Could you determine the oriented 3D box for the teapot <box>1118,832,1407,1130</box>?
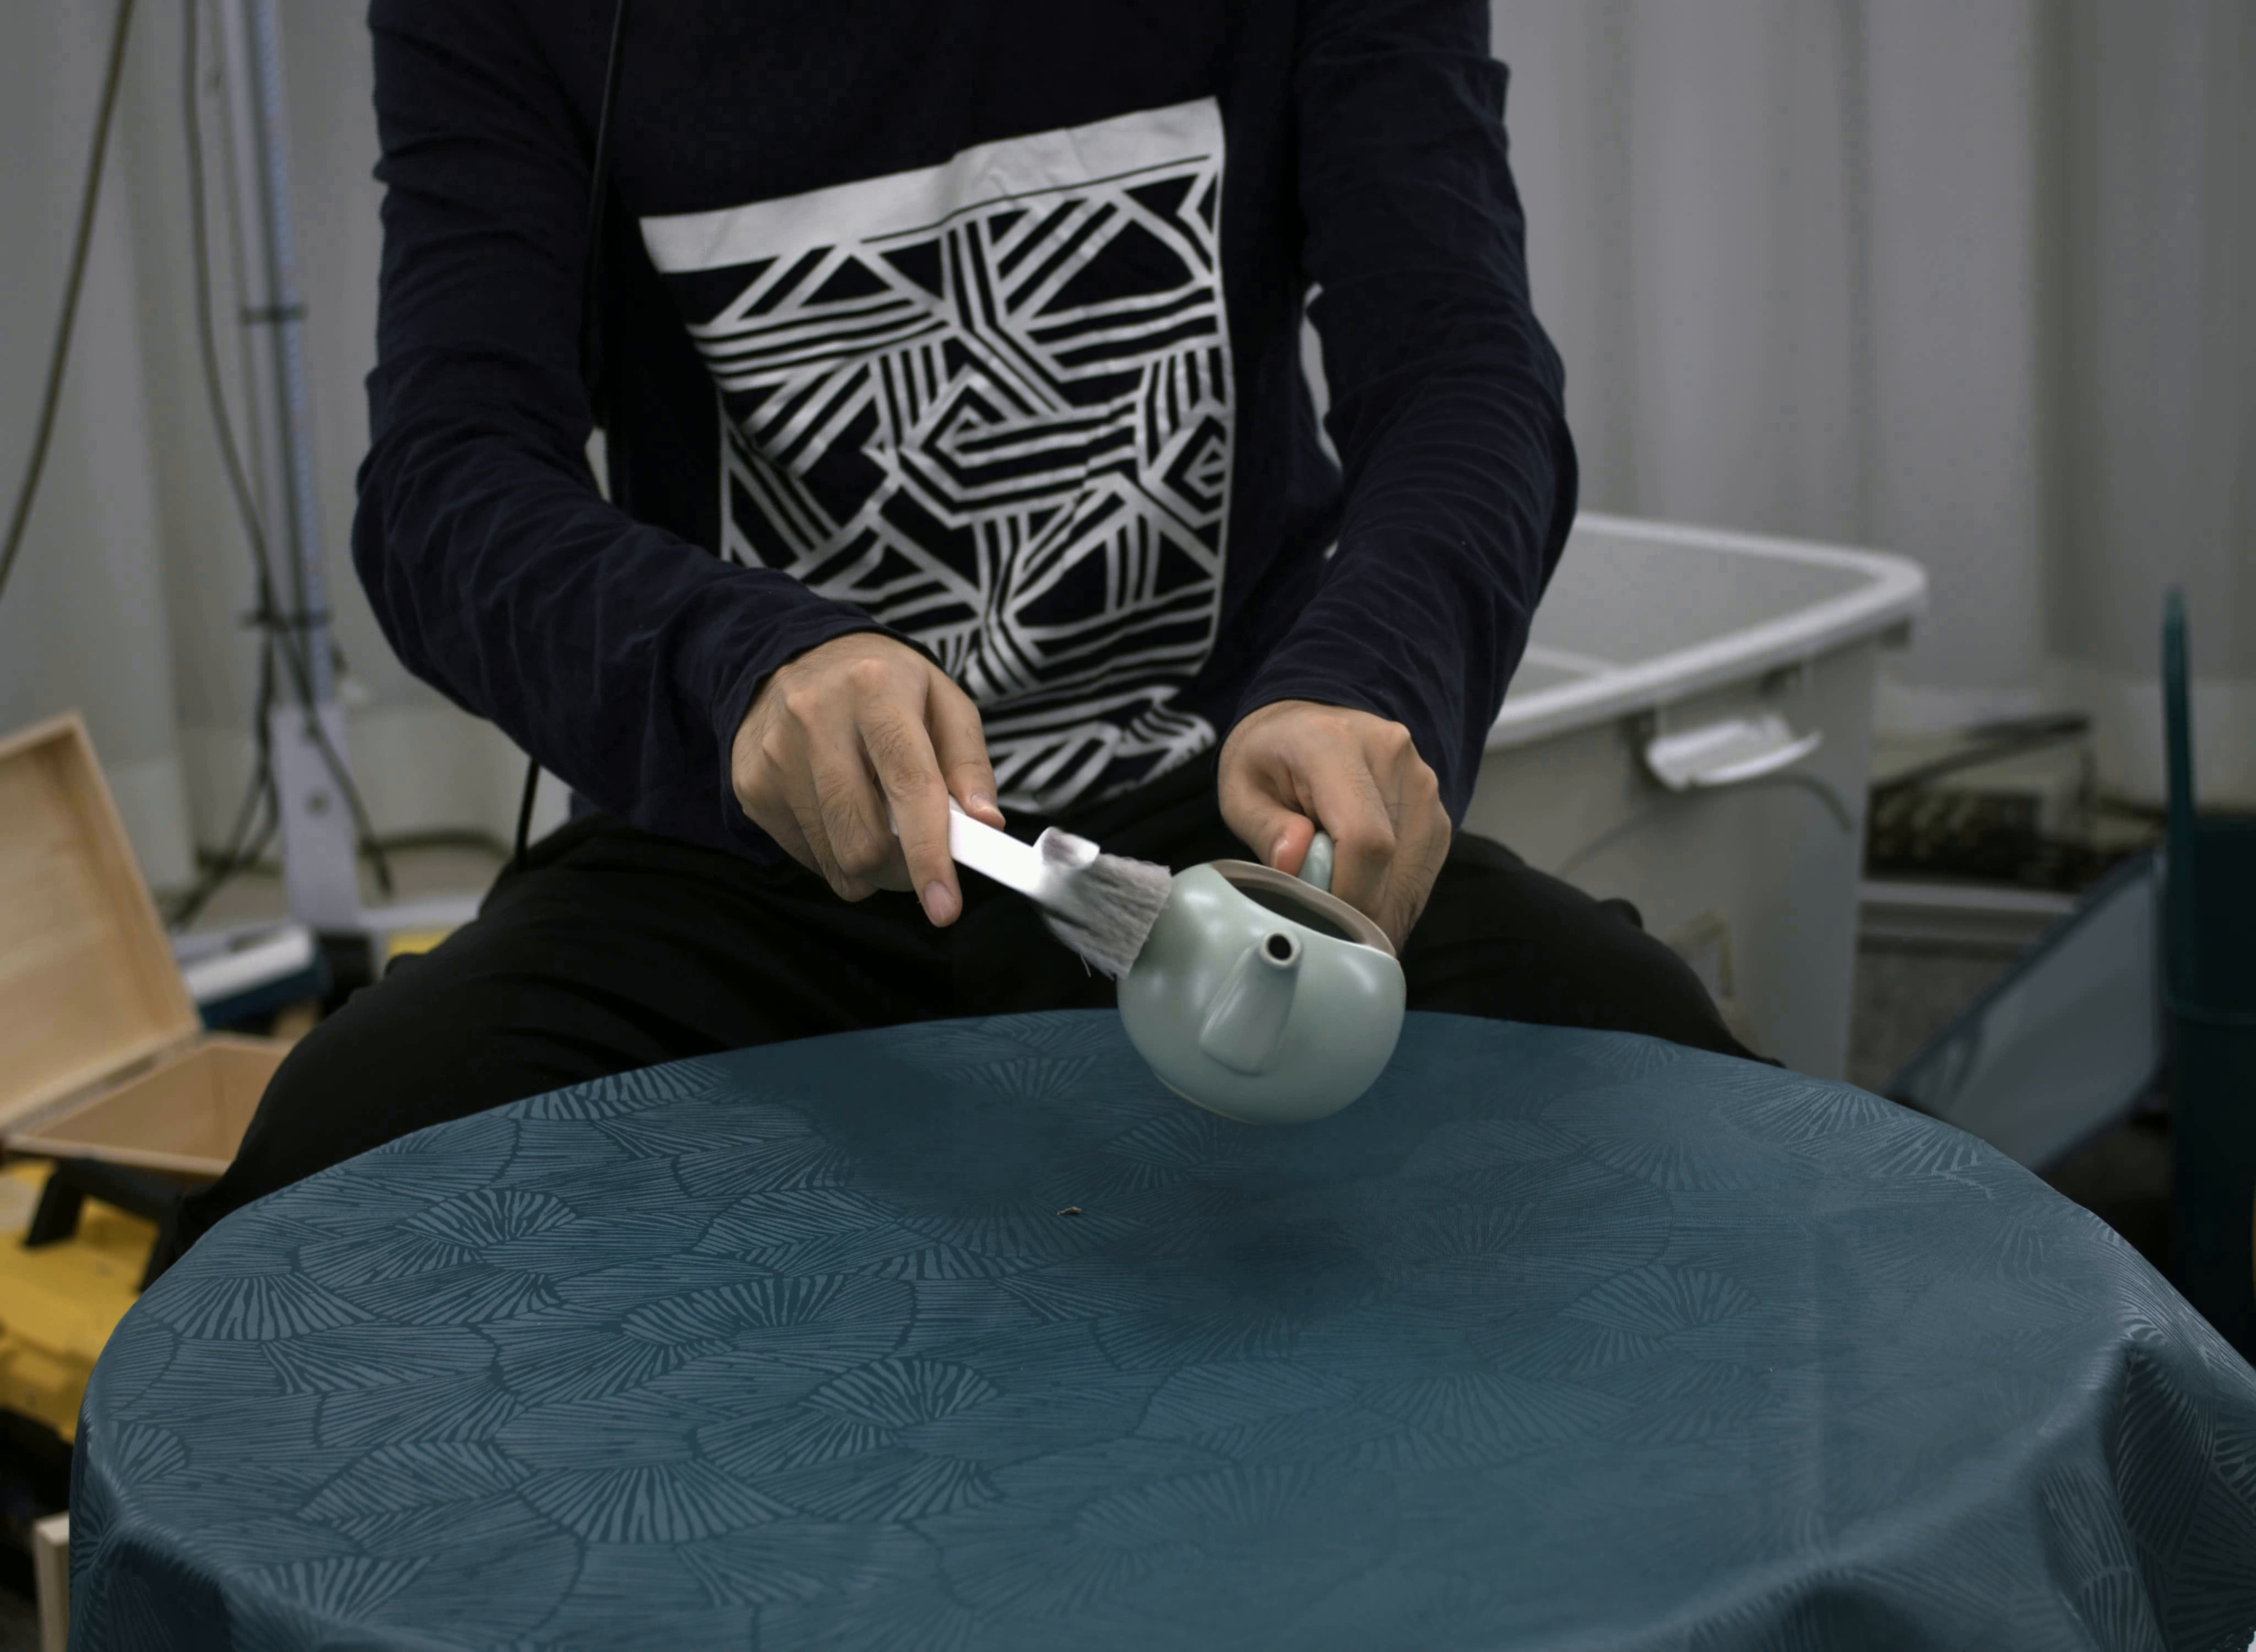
[{"bbox_3d":[0.041,0.049,1.647,0.088,0.074,0.144,24,15,5],"label":"teapot"}]

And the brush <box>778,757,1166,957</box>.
[{"bbox_3d":[-0.048,0.008,1.707,0.050,0.034,0.245,22,-2,-24],"label":"brush"}]
